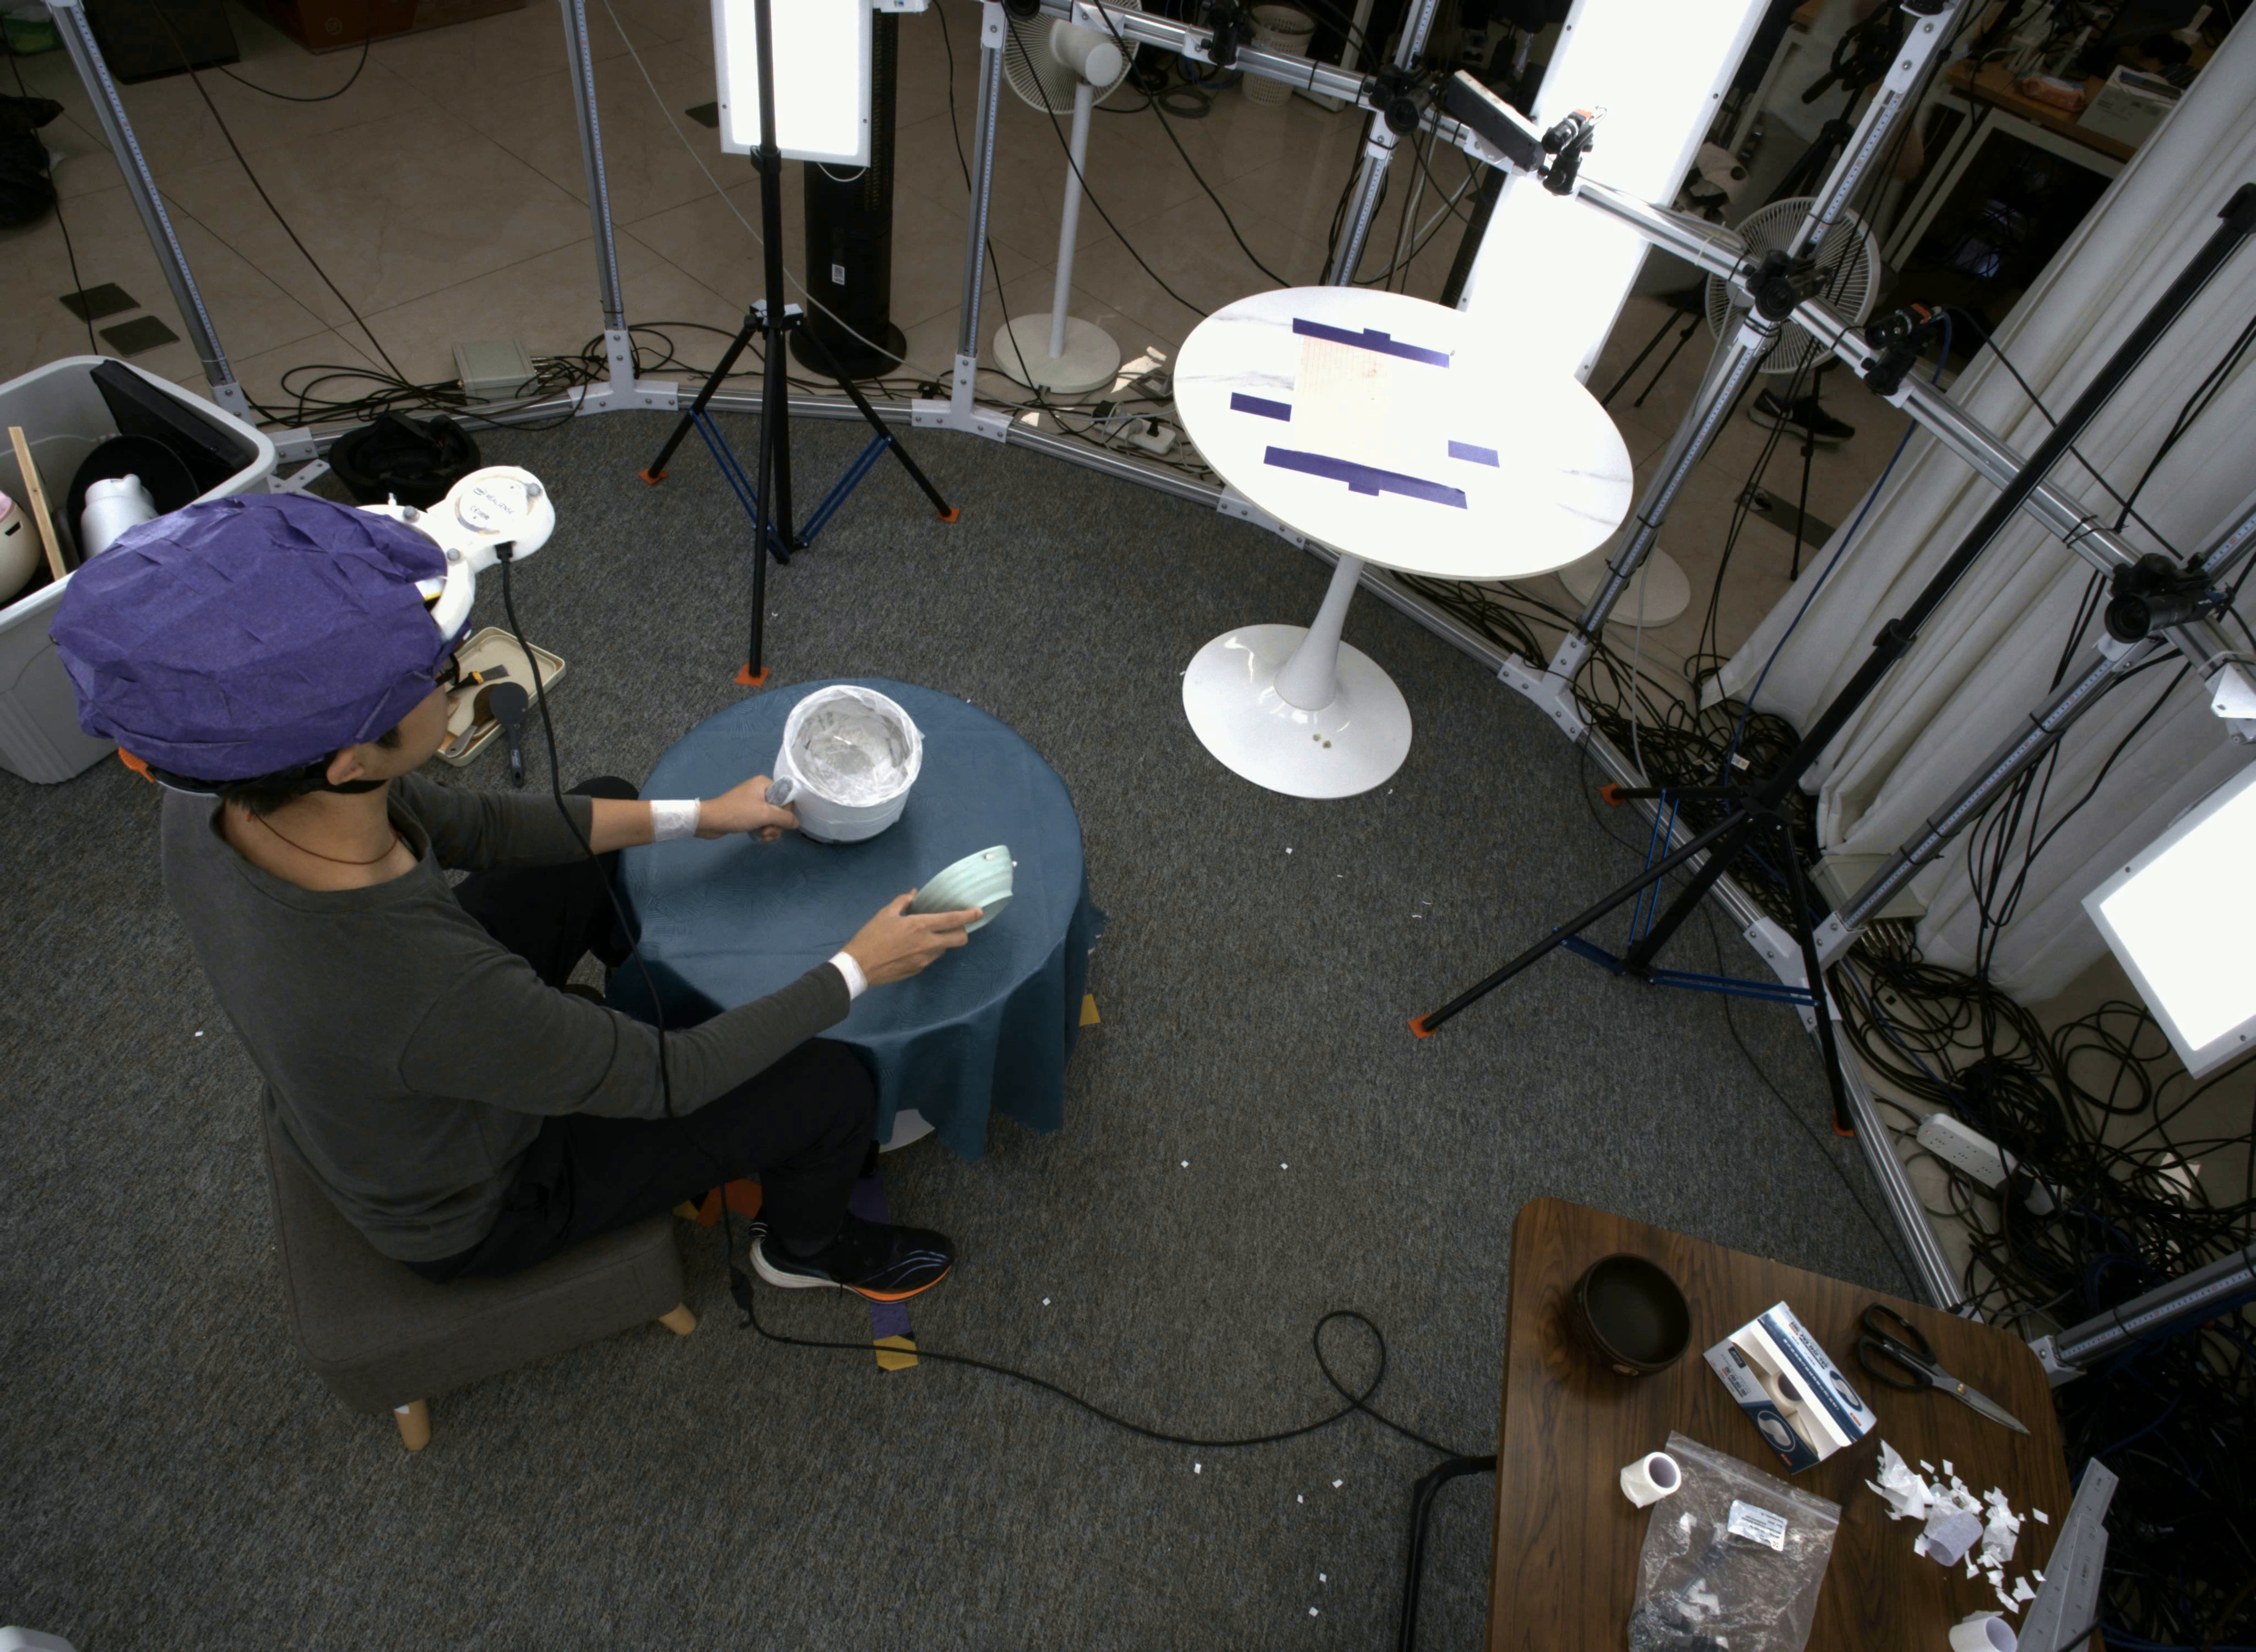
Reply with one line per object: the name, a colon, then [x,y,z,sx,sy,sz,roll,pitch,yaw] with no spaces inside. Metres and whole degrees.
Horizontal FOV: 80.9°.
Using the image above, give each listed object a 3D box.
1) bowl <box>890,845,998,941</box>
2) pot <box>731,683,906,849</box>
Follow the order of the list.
bowl: [-0.216,0.089,1.611,0.152,0.152,0.058,-29,77,-30]
pot: [-0.408,-0.061,1.681,0.178,0.137,0.234,48,56,6]
